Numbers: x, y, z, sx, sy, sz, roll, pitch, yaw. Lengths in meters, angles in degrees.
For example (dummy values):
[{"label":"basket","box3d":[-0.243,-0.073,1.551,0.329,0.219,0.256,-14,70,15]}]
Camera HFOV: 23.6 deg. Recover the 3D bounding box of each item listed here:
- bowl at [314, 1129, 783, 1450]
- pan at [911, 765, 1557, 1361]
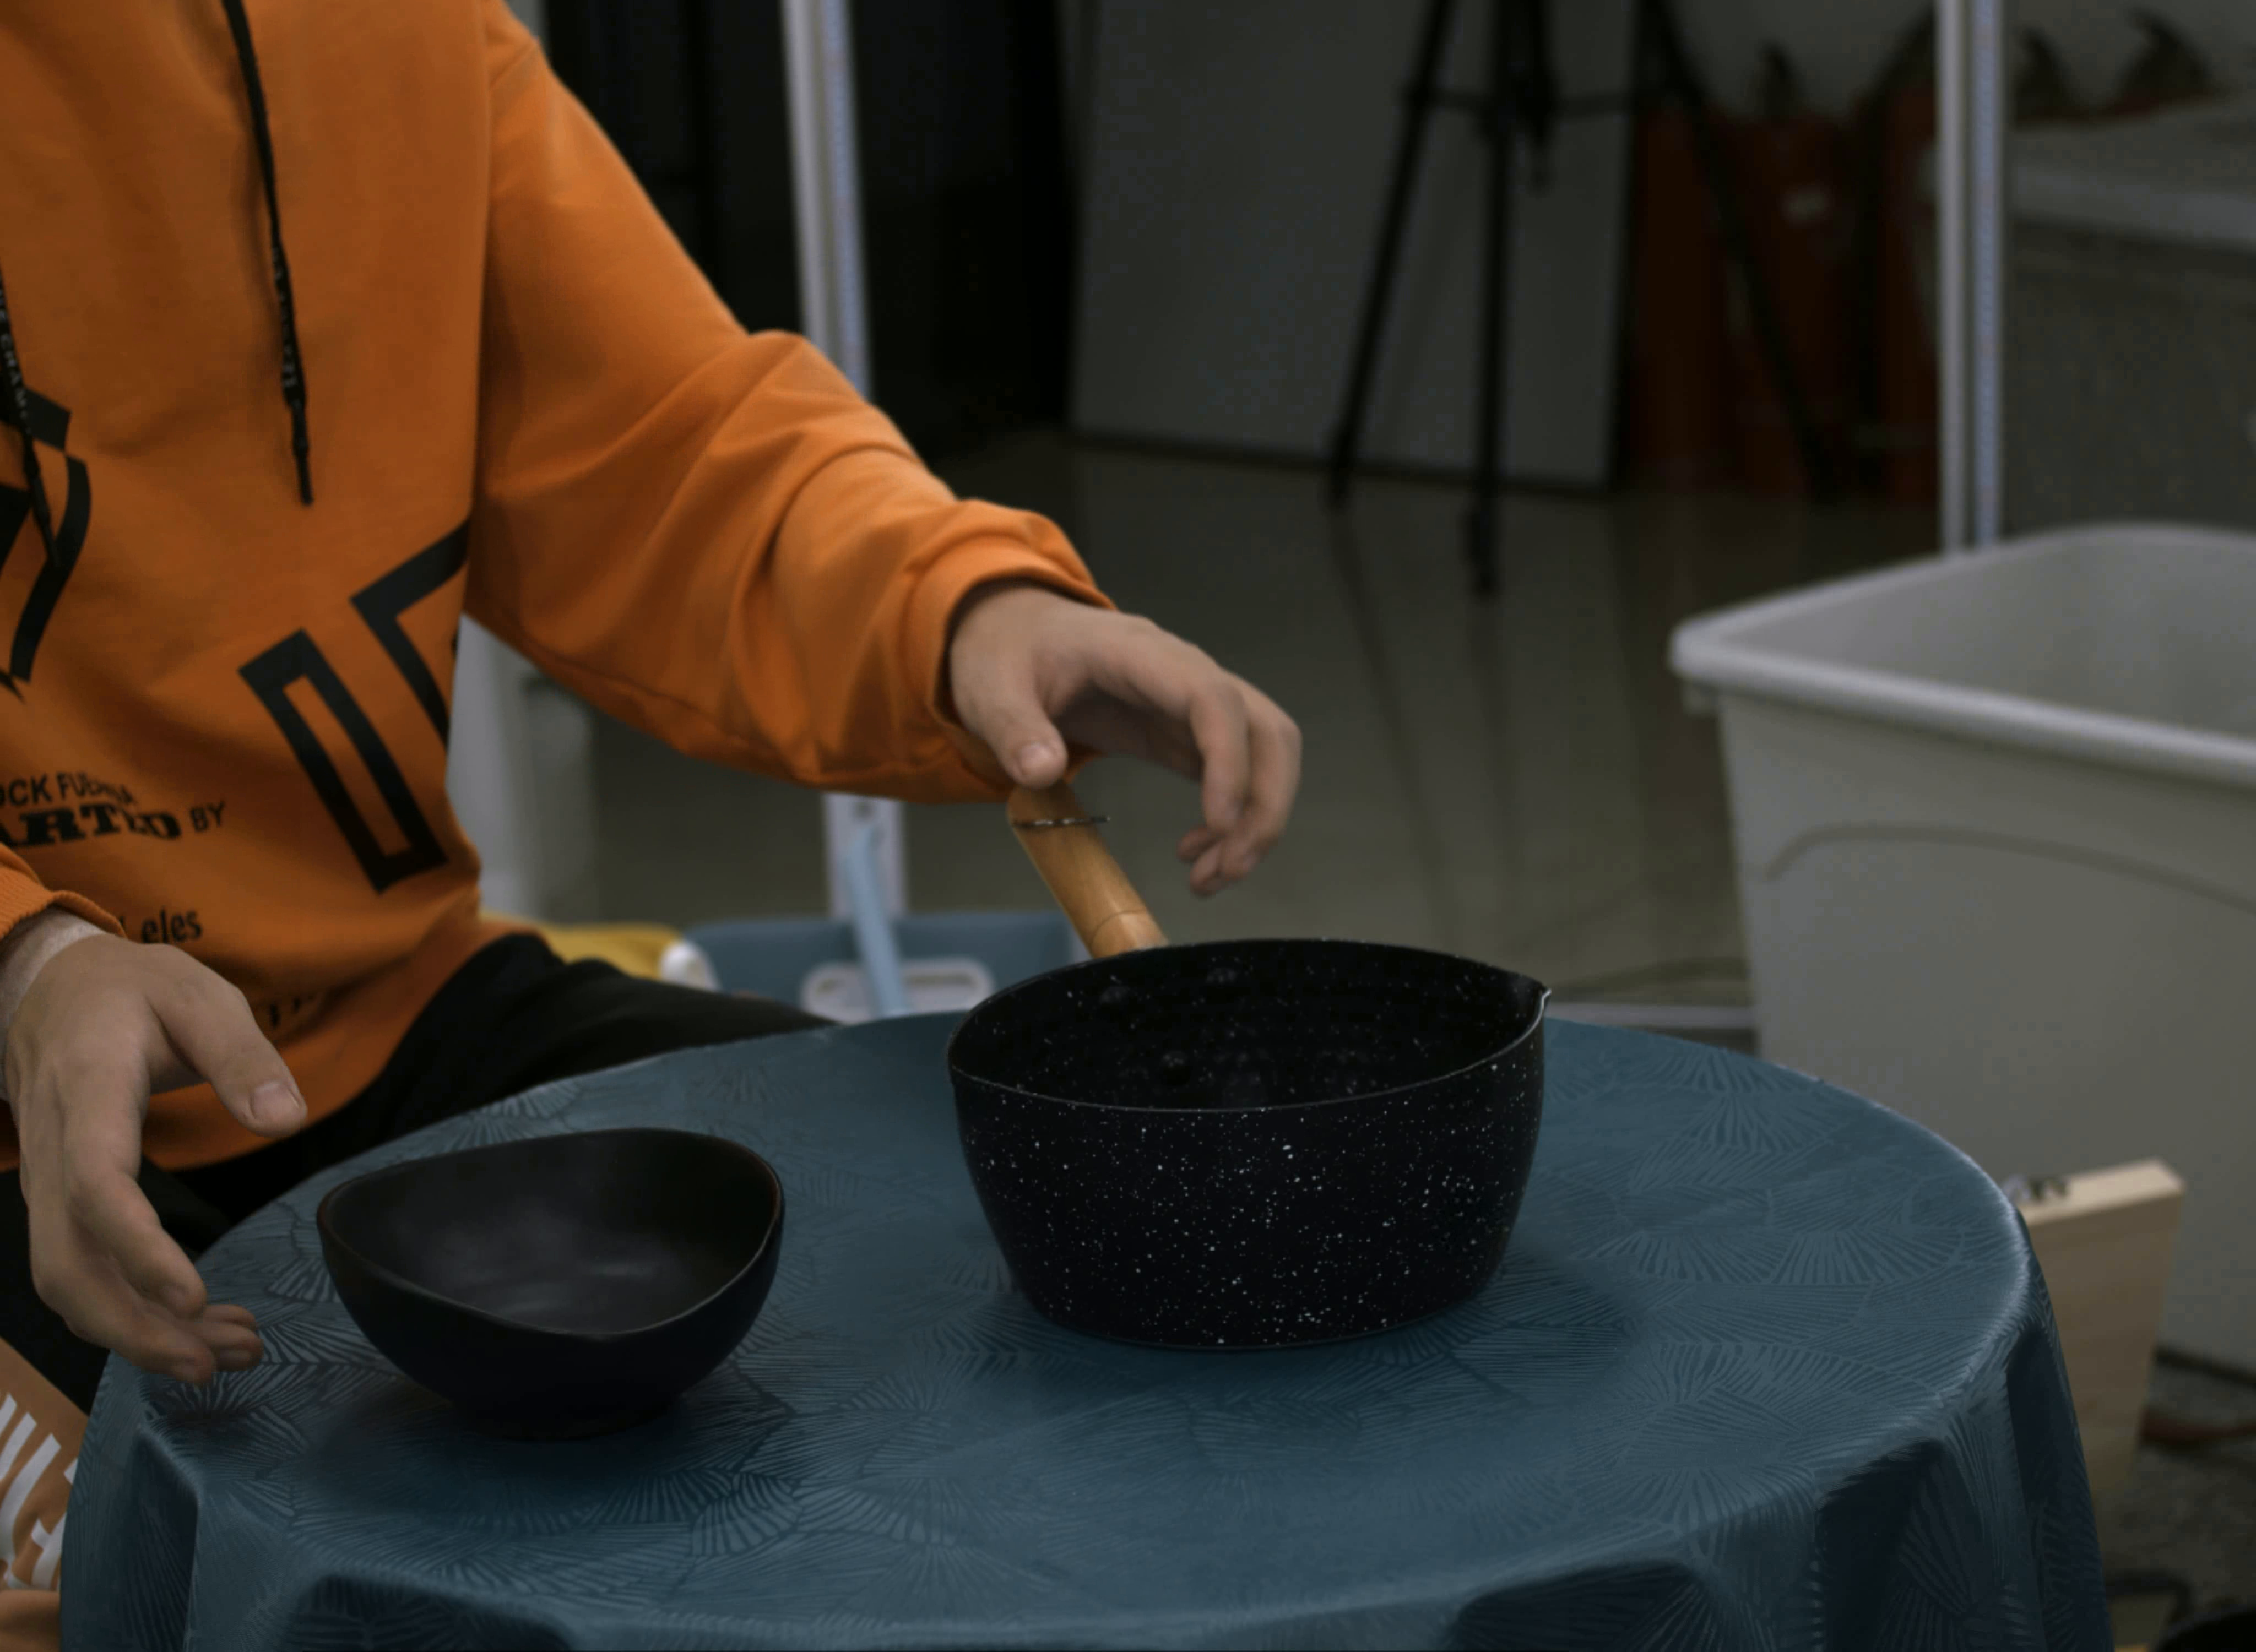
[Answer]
[{"label":"bowl","box3d":[-0.168,0.142,1.604,0.134,0.067,0.172,-10,17,-21]},{"label":"pan","box3d":[0.016,0.071,1.743,0.203,0.109,0.345,-9,16,-14]}]
